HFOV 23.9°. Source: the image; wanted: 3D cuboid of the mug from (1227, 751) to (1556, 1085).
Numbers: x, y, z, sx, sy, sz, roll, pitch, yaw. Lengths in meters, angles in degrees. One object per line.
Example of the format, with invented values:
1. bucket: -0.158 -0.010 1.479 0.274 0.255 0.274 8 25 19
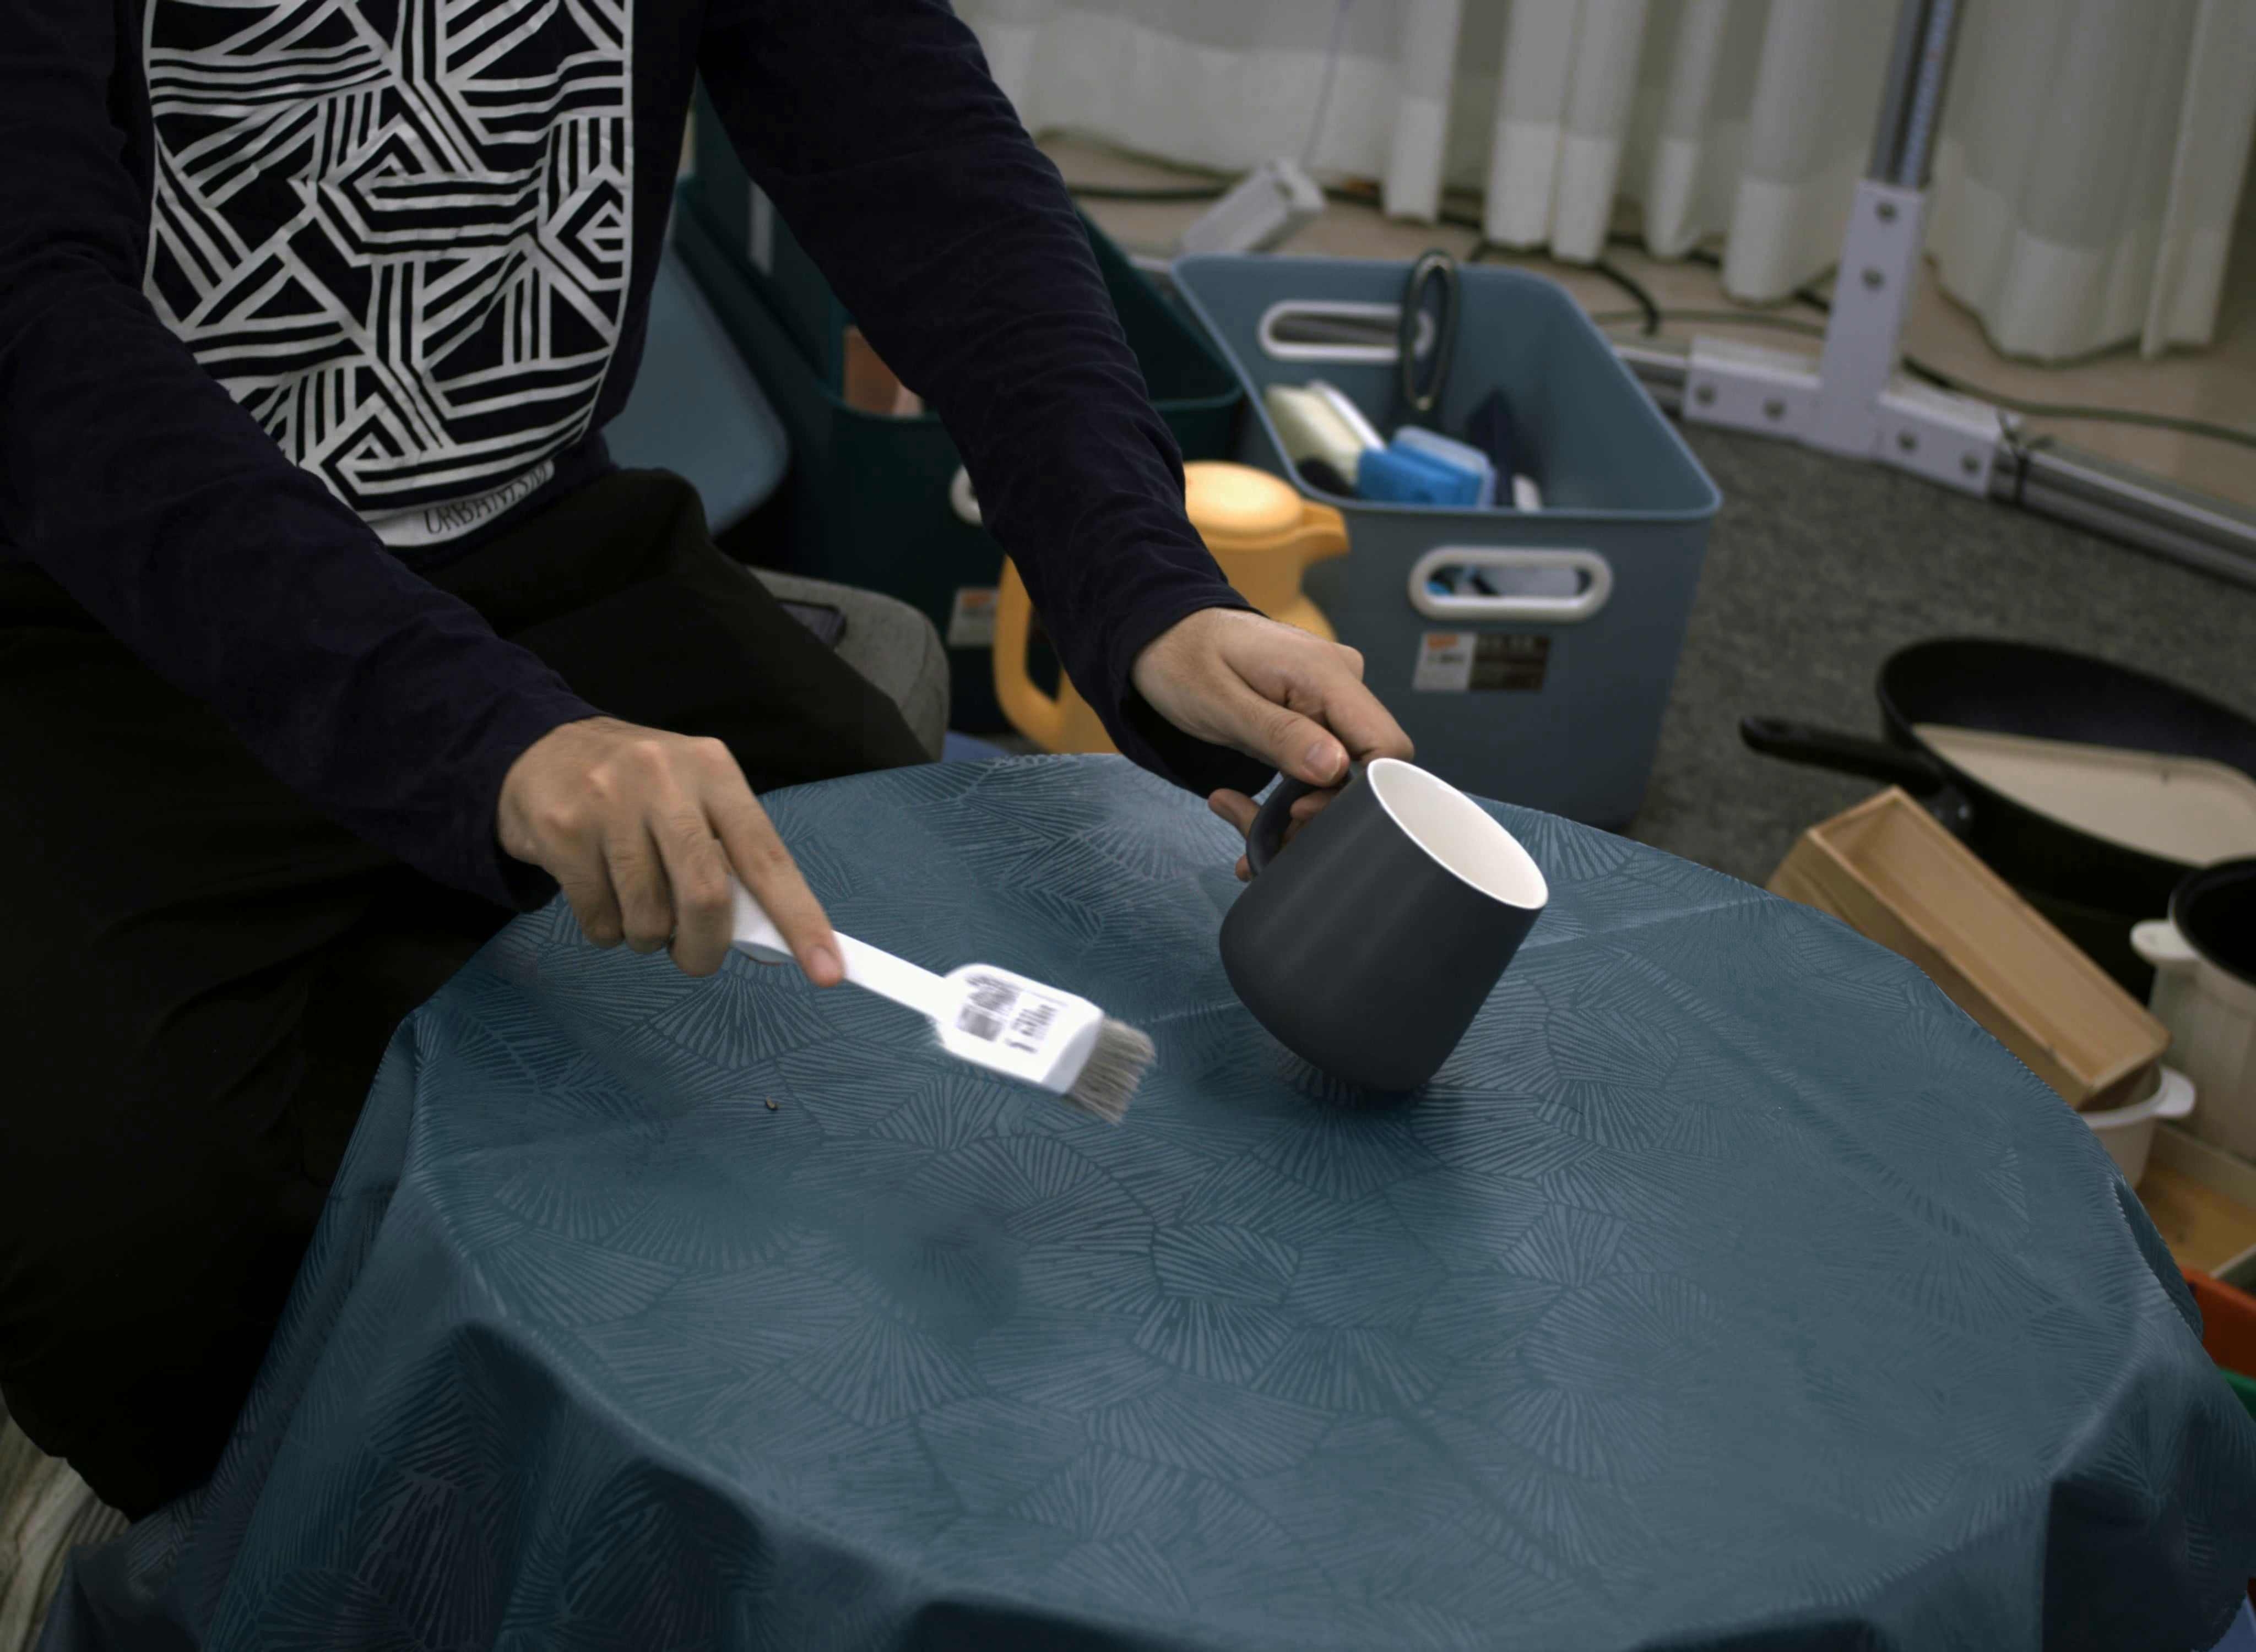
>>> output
1. mug: 0.087 0.024 1.885 0.092 0.090 0.124 21 27 -41

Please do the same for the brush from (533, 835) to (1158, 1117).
1. brush: -0.097 0.049 1.797 0.245 0.034 0.050 17 -13 31
